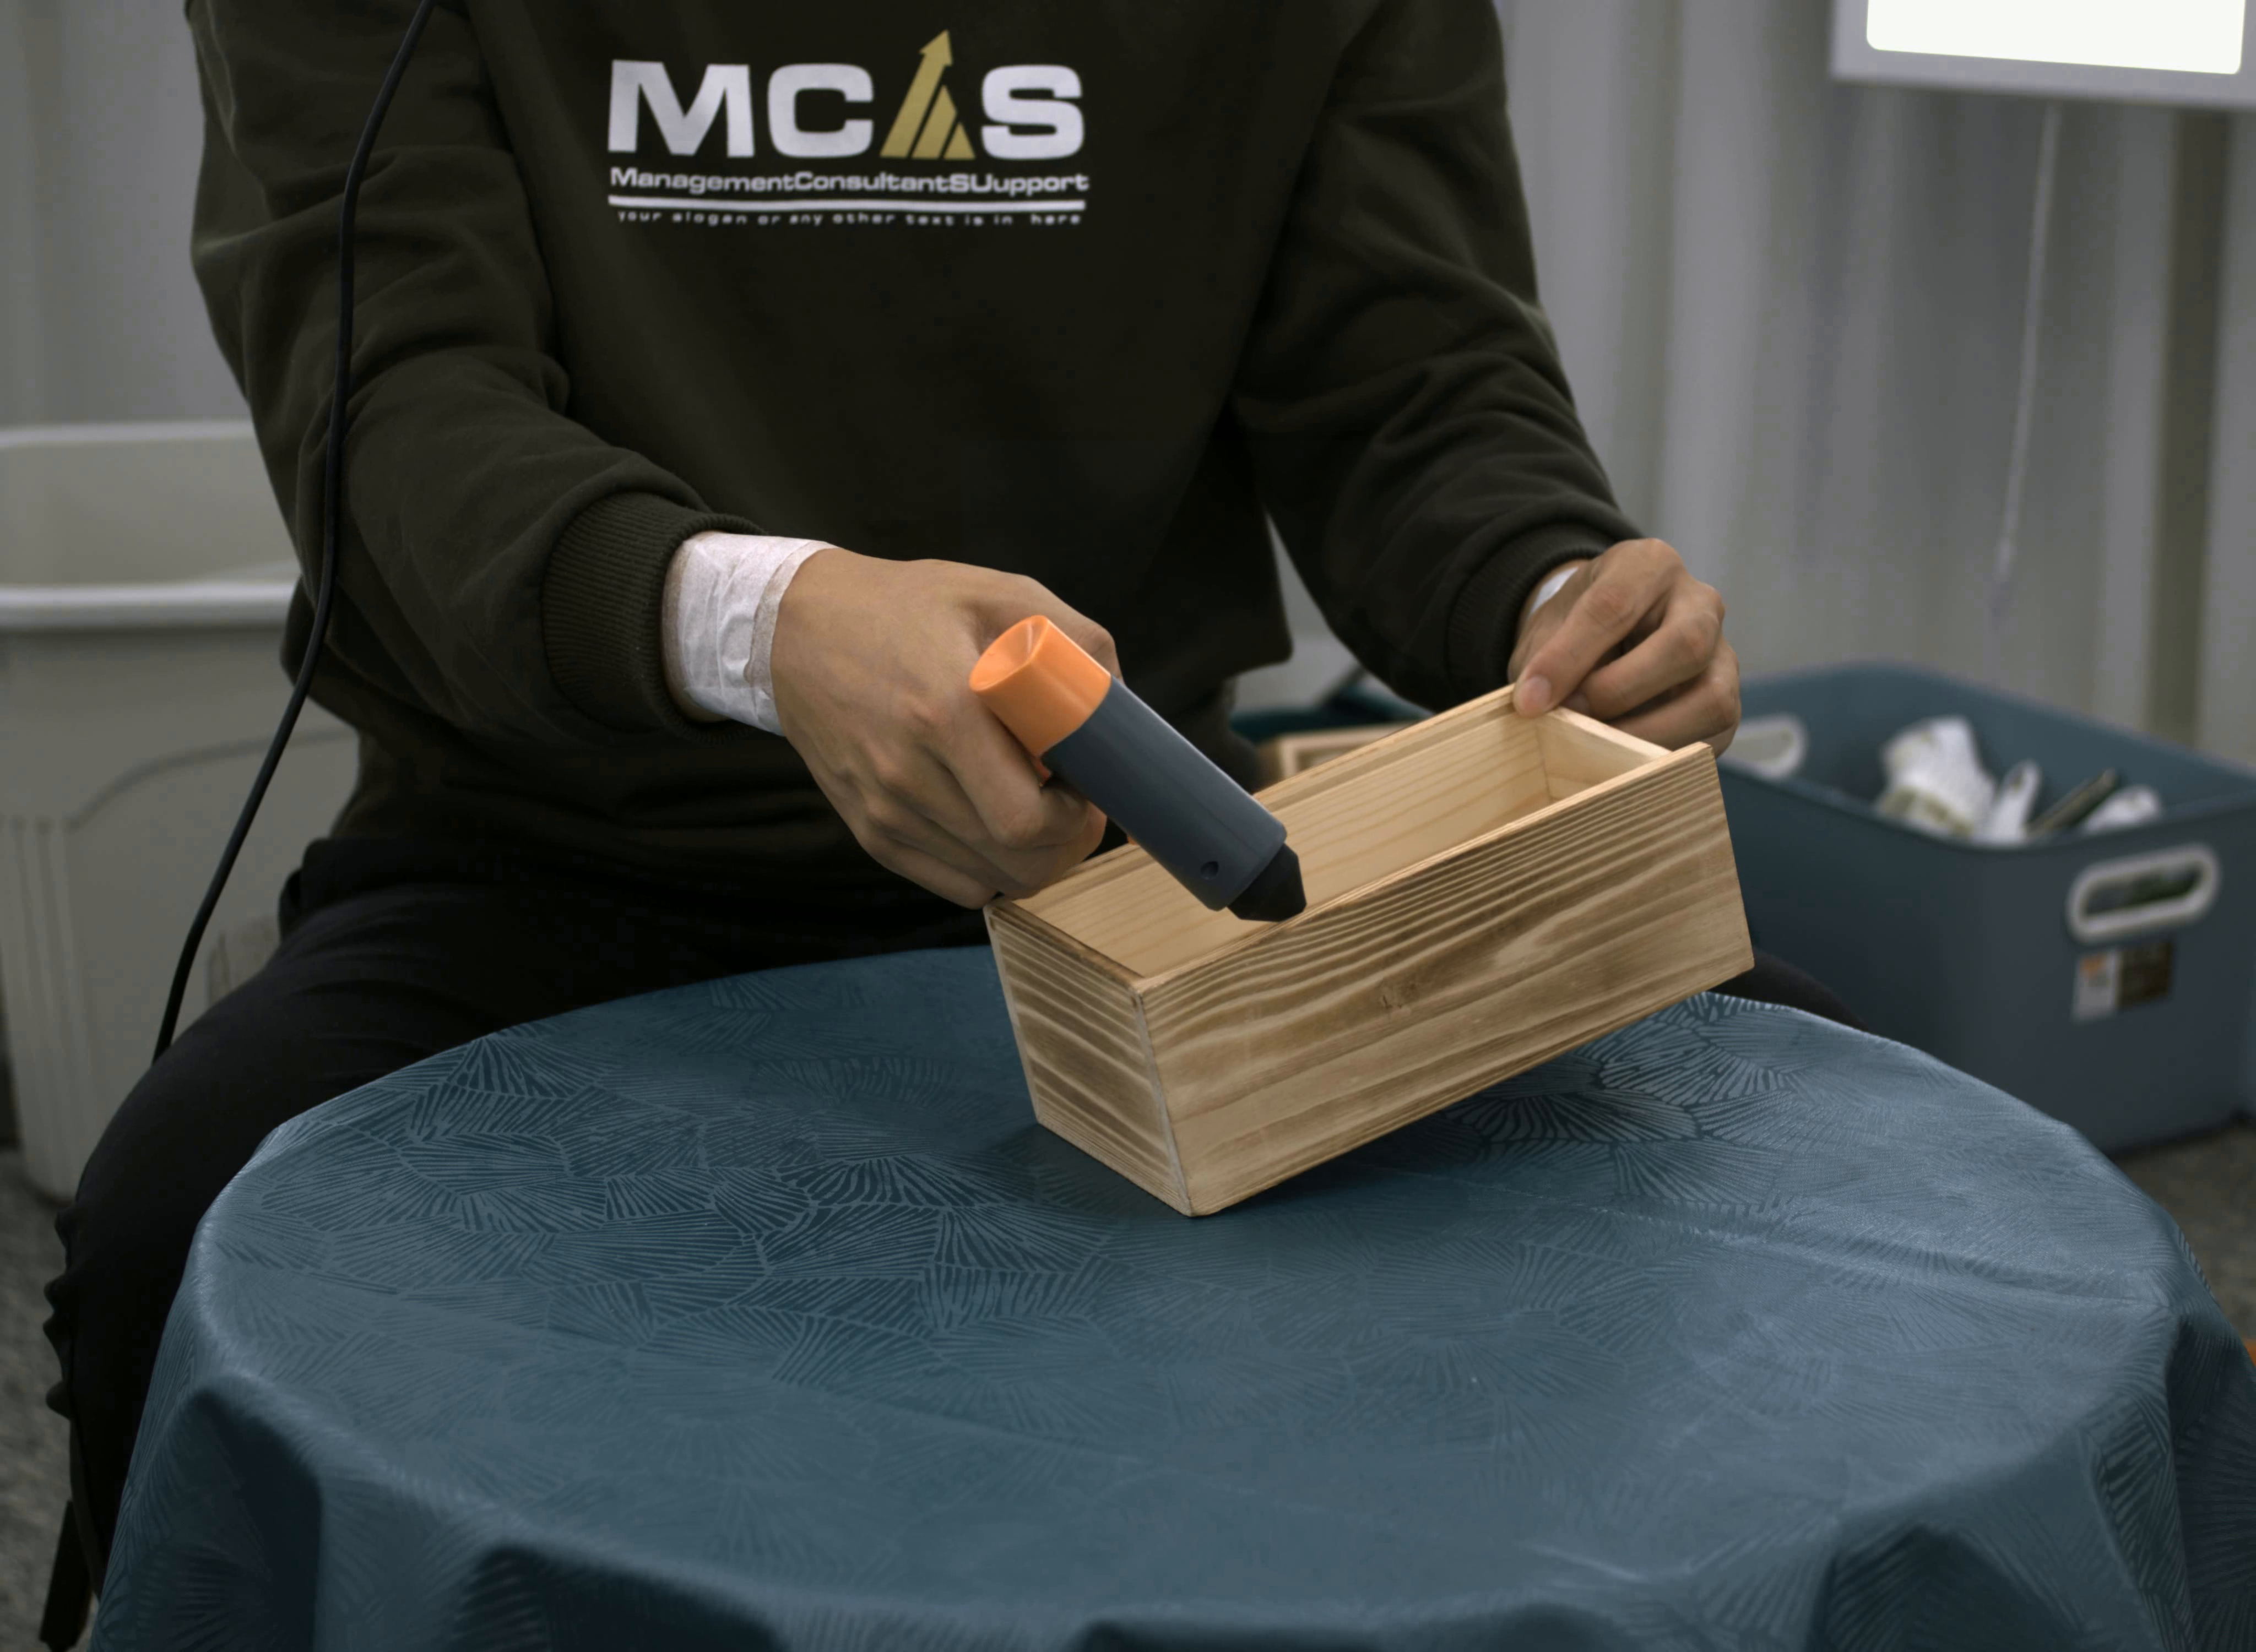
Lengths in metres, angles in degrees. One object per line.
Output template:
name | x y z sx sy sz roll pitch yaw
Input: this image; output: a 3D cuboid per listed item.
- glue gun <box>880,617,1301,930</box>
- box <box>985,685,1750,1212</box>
glue gun | -0.013 -0.014 1.636 0.041 0.119 0.138 -50 24 -17
box | 0.077 0.035 1.672 0.212 0.081 0.106 -22 23 -23
